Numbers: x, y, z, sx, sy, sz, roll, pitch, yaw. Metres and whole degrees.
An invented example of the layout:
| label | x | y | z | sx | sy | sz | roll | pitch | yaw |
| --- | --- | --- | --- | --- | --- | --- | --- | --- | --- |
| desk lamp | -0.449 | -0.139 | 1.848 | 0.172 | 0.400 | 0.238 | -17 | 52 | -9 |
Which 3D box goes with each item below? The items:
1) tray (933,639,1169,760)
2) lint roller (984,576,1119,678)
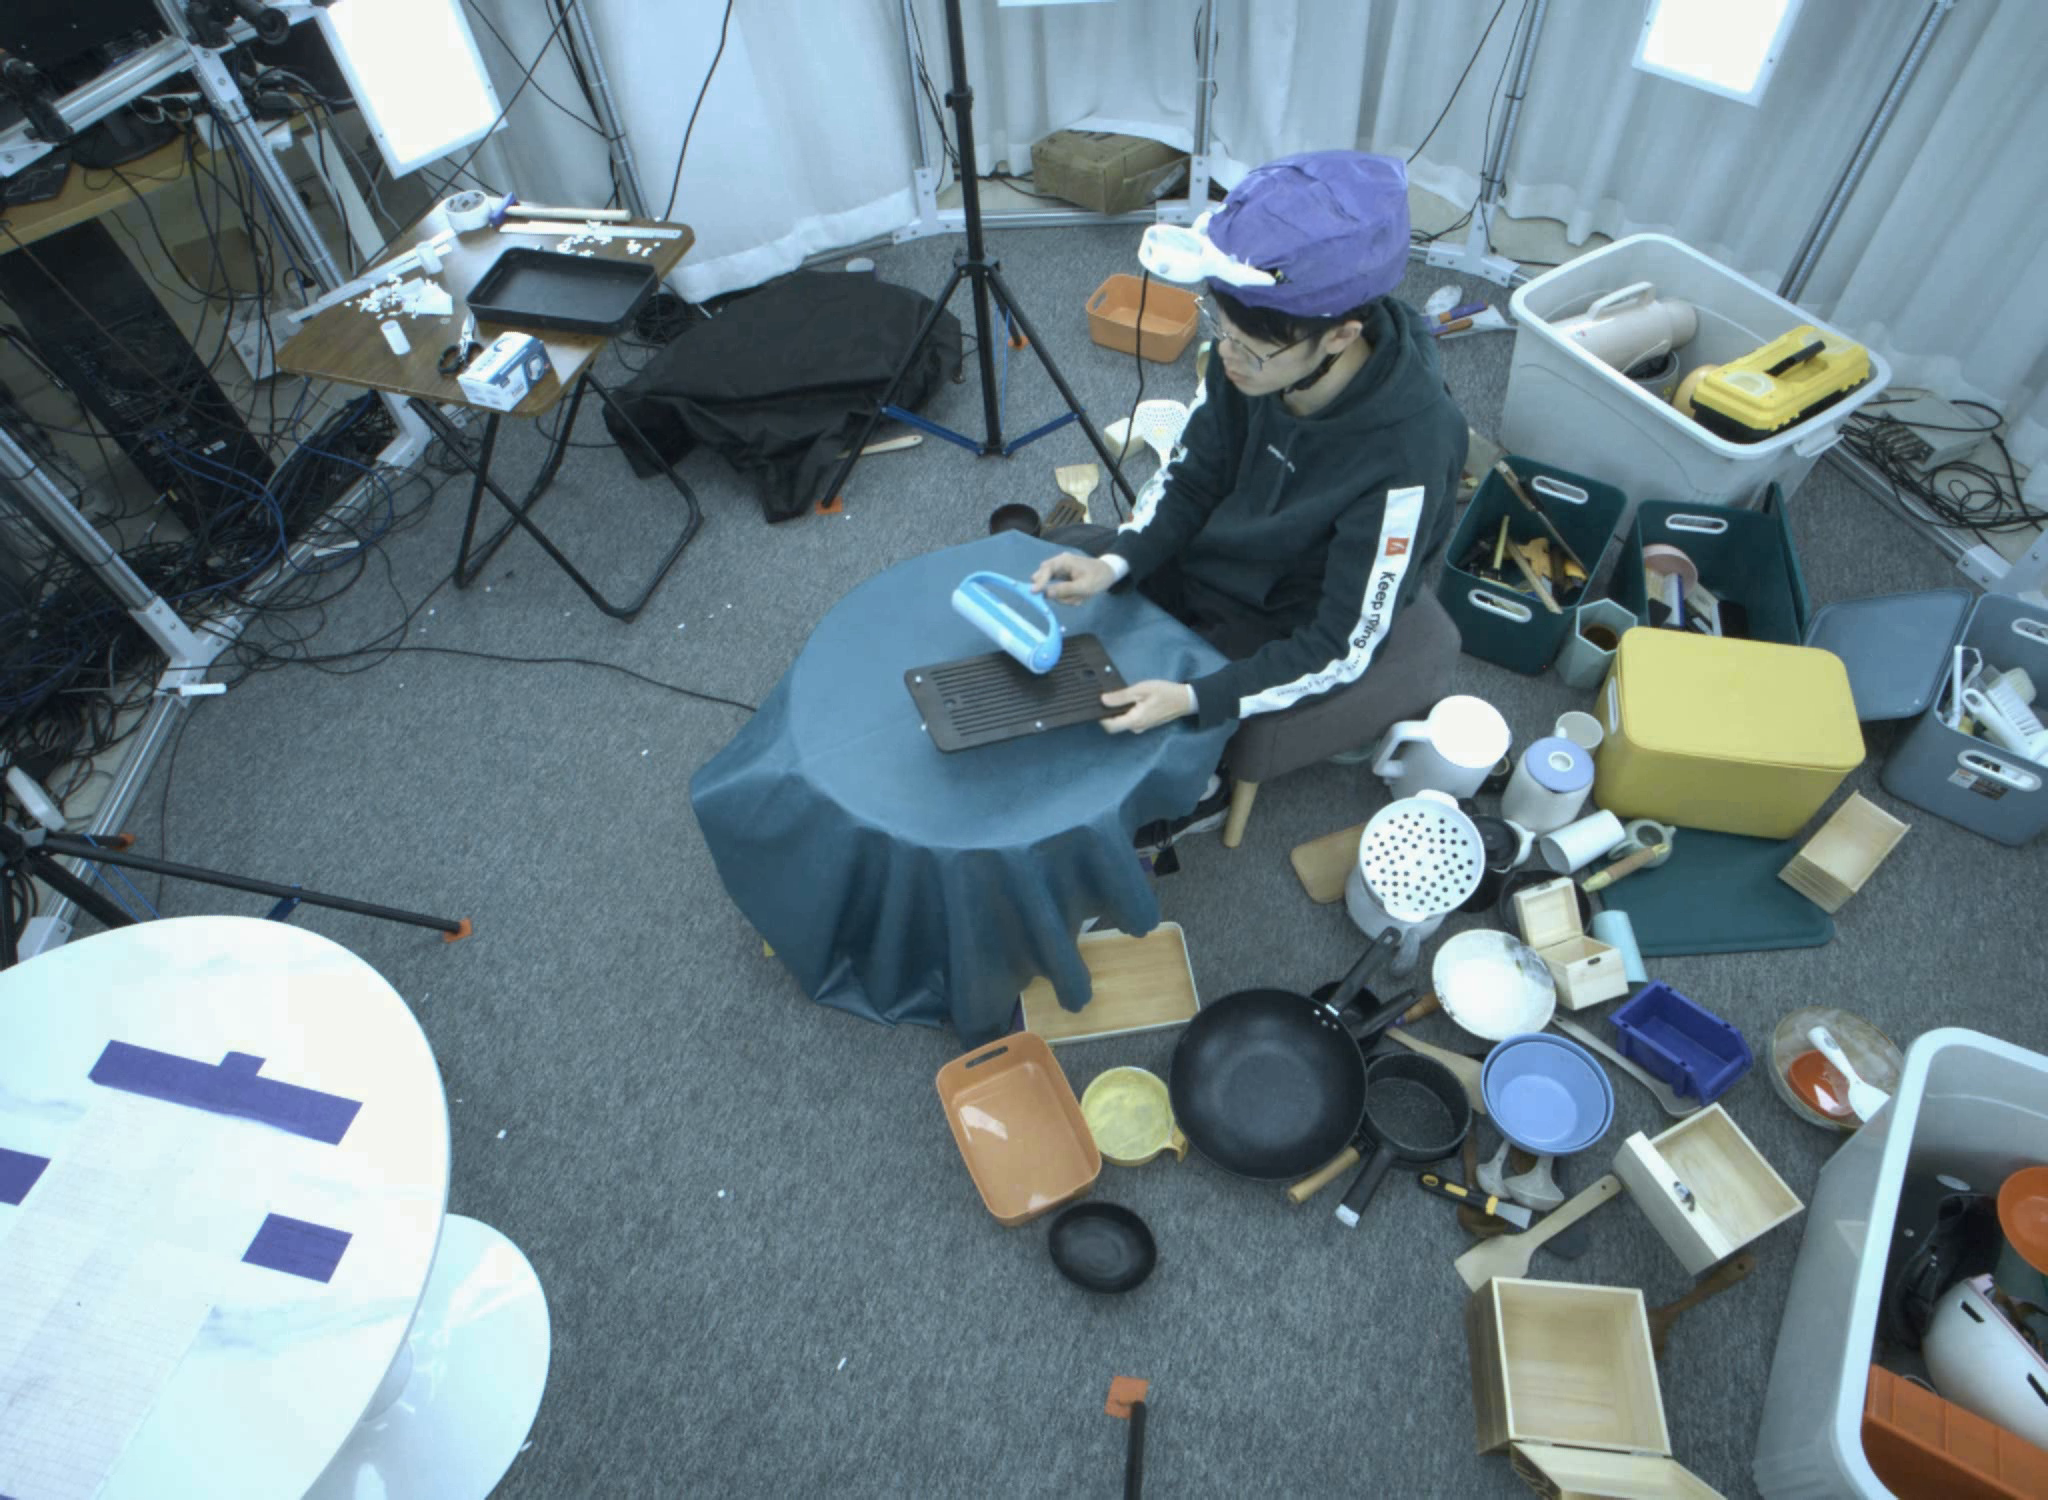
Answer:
| label | x | y | z | sx | sy | sz | roll | pitch | yaw |
| --- | --- | --- | --- | --- | --- | --- | --- | --- | --- |
| tray | 0.038 | -0.073 | 1.744 | 0.310 | 0.019 | 0.167 | -12 | 51 | -20 |
| lint roller | 0.062 | -0.207 | 1.811 | 0.181 | 0.069 | 0.224 | -35 | 50 | -21 |
